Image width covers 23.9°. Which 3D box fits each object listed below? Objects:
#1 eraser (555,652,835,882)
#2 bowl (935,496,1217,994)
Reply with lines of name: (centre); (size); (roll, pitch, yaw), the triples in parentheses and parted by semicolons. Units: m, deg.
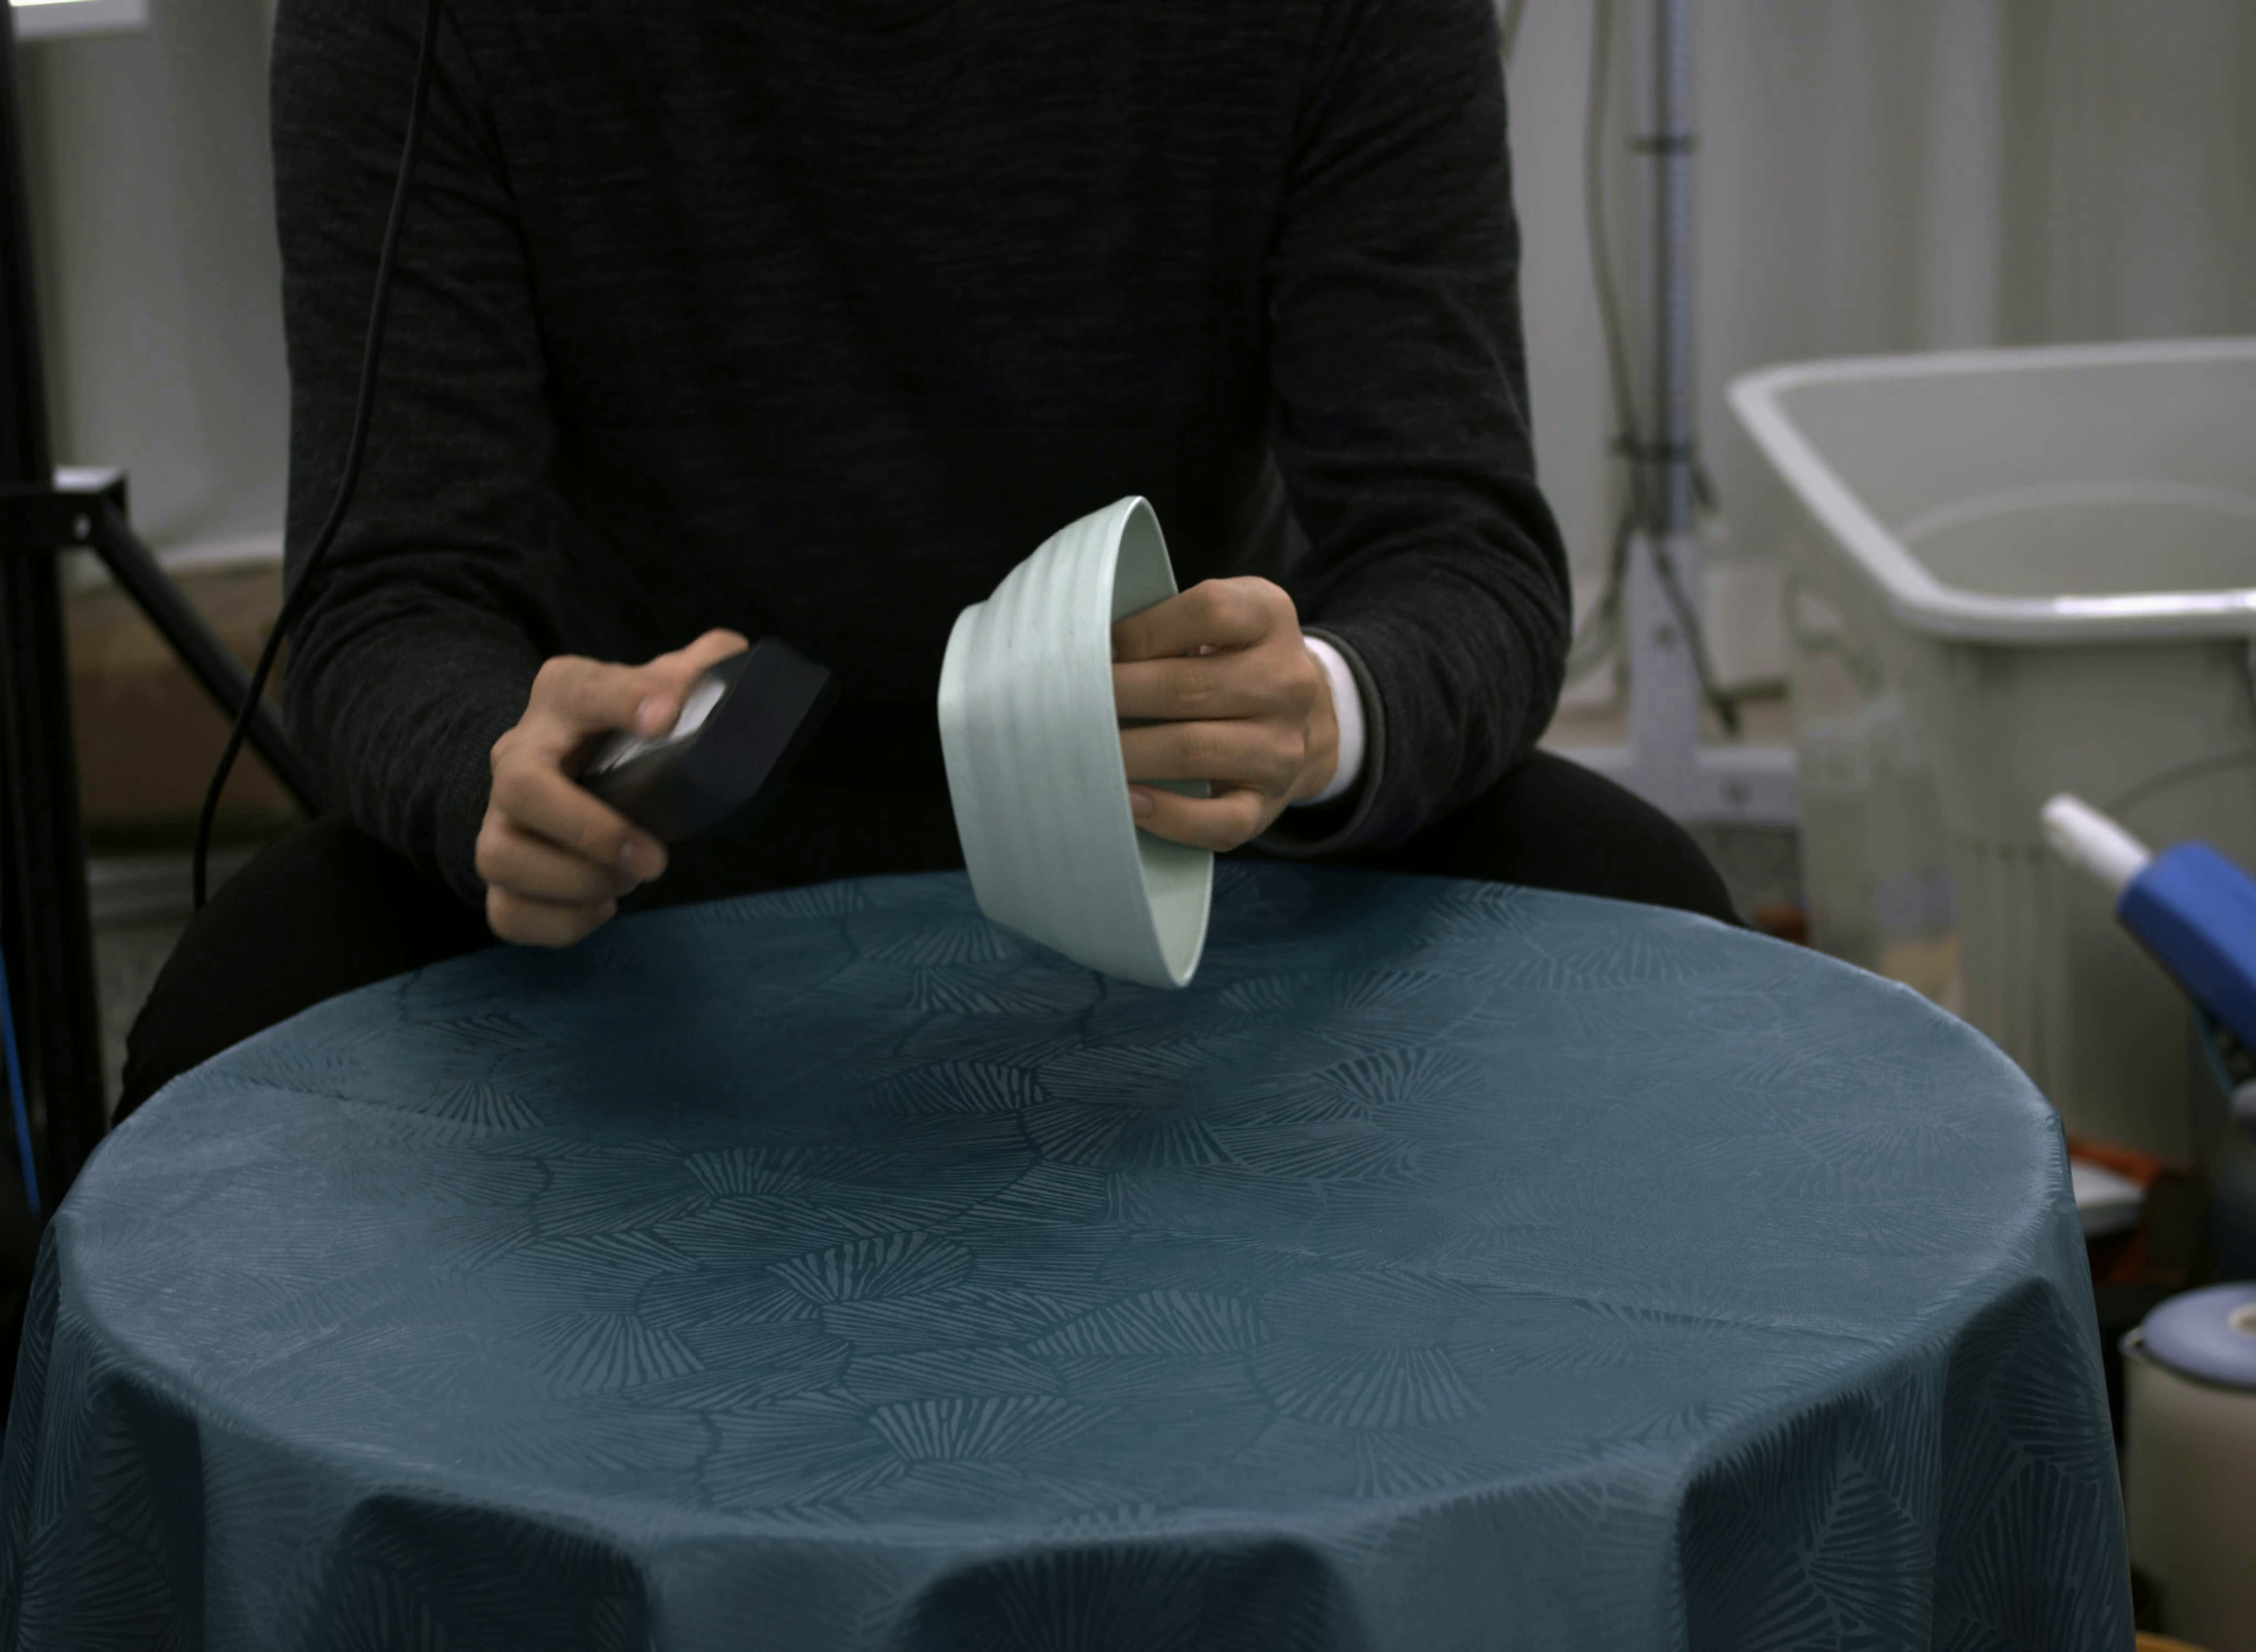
eraser: (-0.132, -0.017, 1.608); (0.053, 0.030, 0.127); (-55, 14, -20)
bowl: (-0.017, -0.022, 1.586); (0.059, 0.151, 0.151); (-6, 14, 12)
